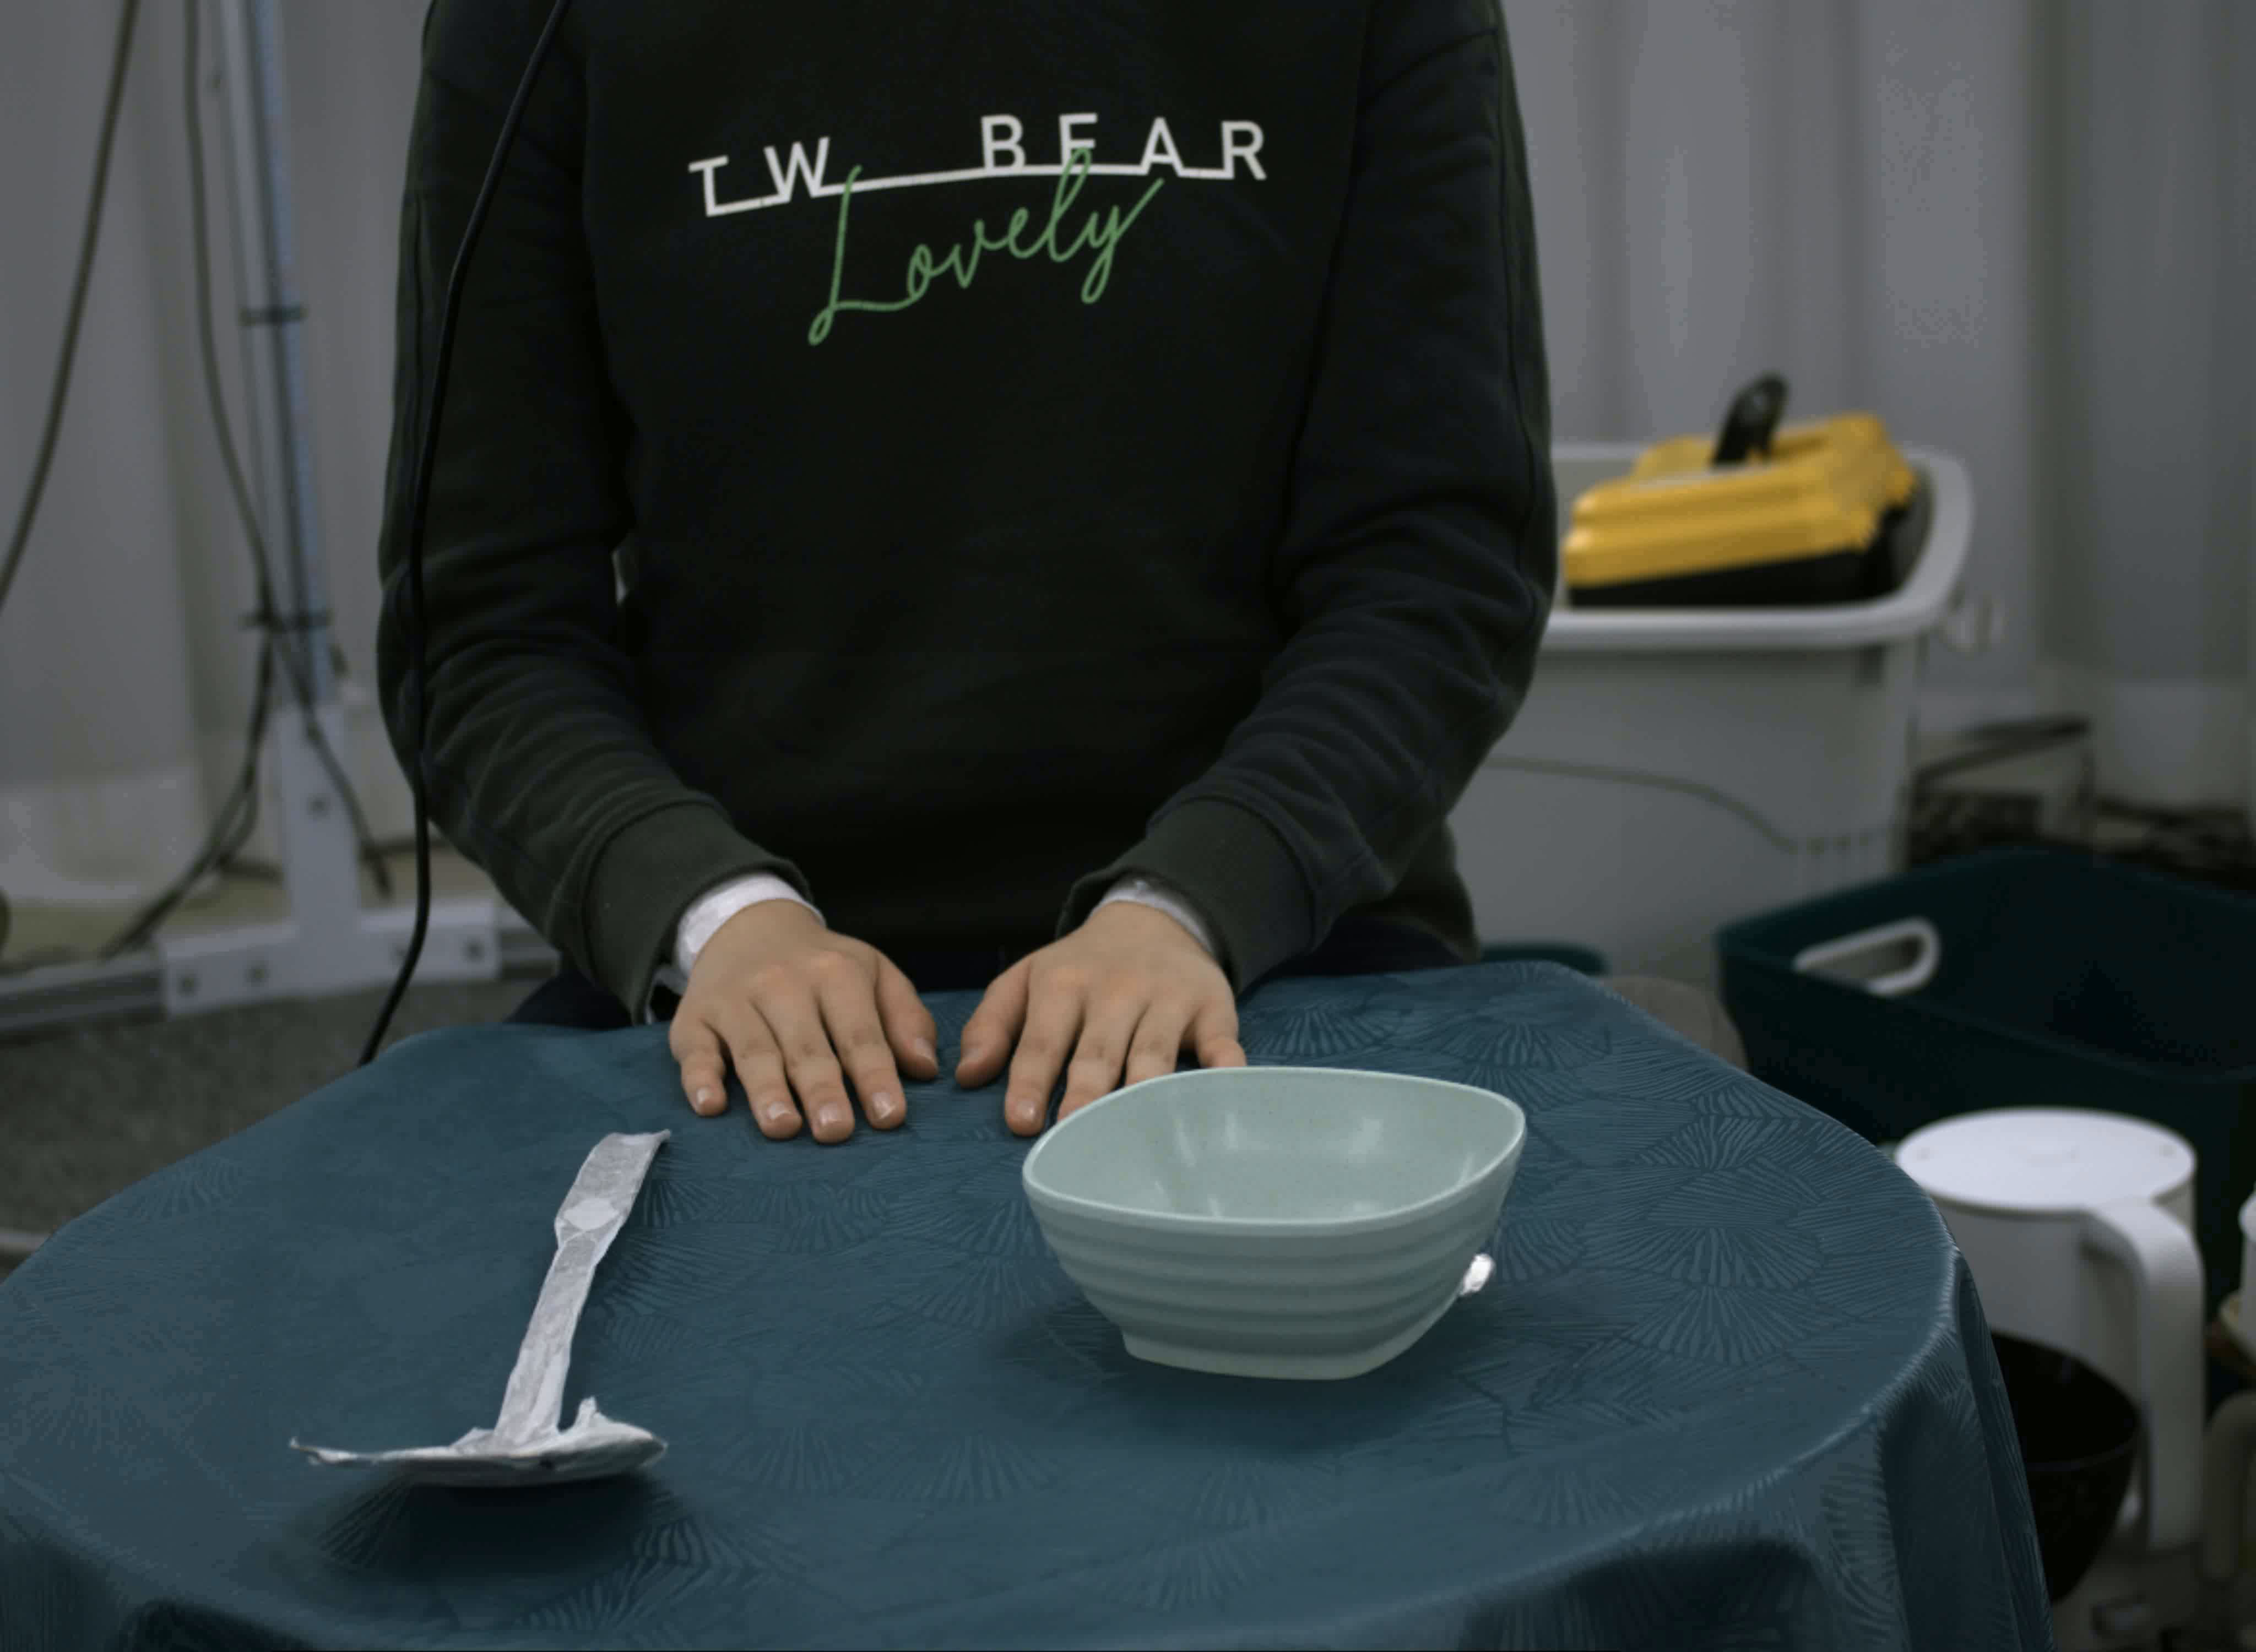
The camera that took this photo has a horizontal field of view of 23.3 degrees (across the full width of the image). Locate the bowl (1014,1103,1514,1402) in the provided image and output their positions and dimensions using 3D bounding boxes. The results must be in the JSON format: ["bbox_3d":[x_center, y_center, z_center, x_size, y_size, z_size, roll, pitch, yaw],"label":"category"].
[{"bbox_3d":[0.040,0.126,1.582,0.151,0.058,0.152,-1,11,0],"label":"bowl"}]

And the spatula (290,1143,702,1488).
[{"bbox_3d":[-0.162,0.134,1.598,0.098,0.044,0.367,-4,15,4],"label":"spatula"}]
